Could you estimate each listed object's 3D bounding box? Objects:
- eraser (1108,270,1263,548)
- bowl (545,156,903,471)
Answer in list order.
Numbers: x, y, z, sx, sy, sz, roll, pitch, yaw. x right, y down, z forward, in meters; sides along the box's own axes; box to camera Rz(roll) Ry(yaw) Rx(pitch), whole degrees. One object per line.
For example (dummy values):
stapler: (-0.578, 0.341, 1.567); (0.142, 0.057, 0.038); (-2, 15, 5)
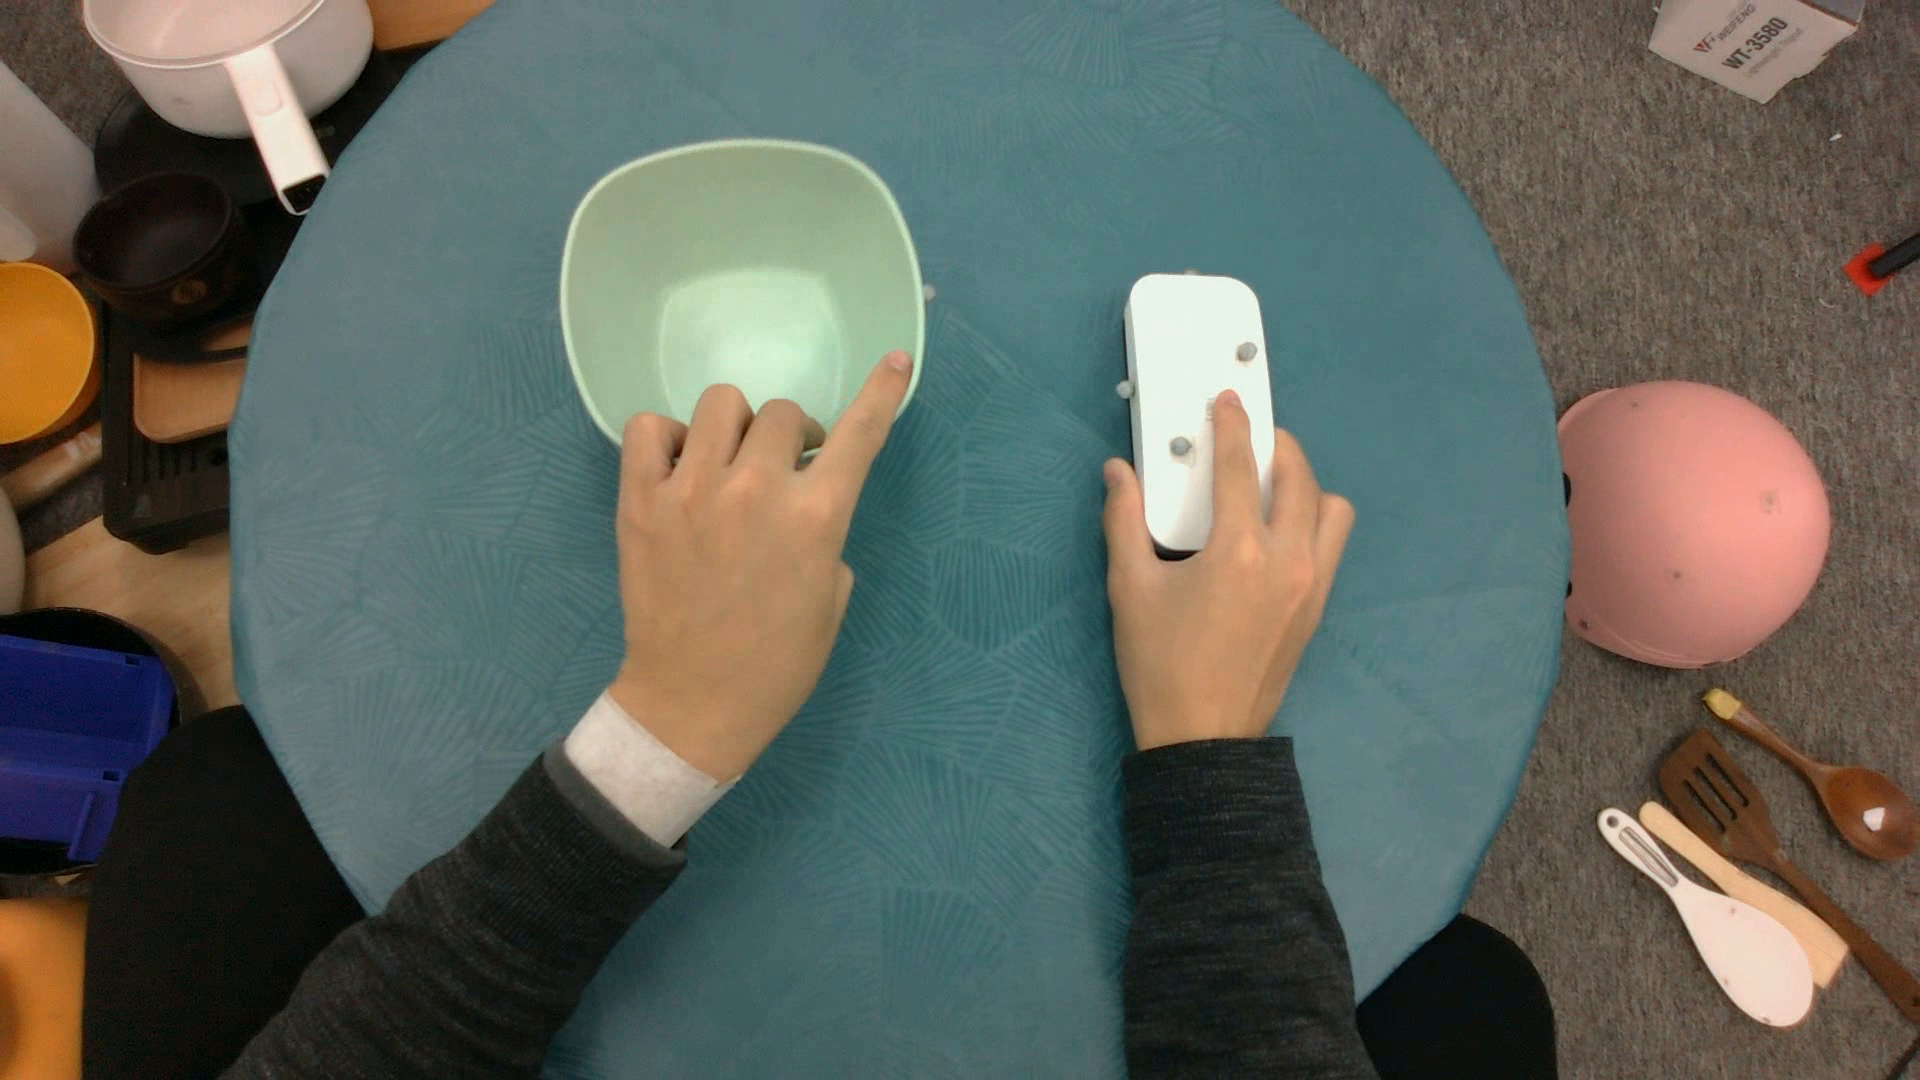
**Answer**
eraser: (0.099, -0.060, 0.624); (0.063, 0.034, 0.131); (1, 73, -9)
bowl: (-0.096, -0.085, 0.569); (0.151, 0.058, 0.152); (3, 68, -8)
